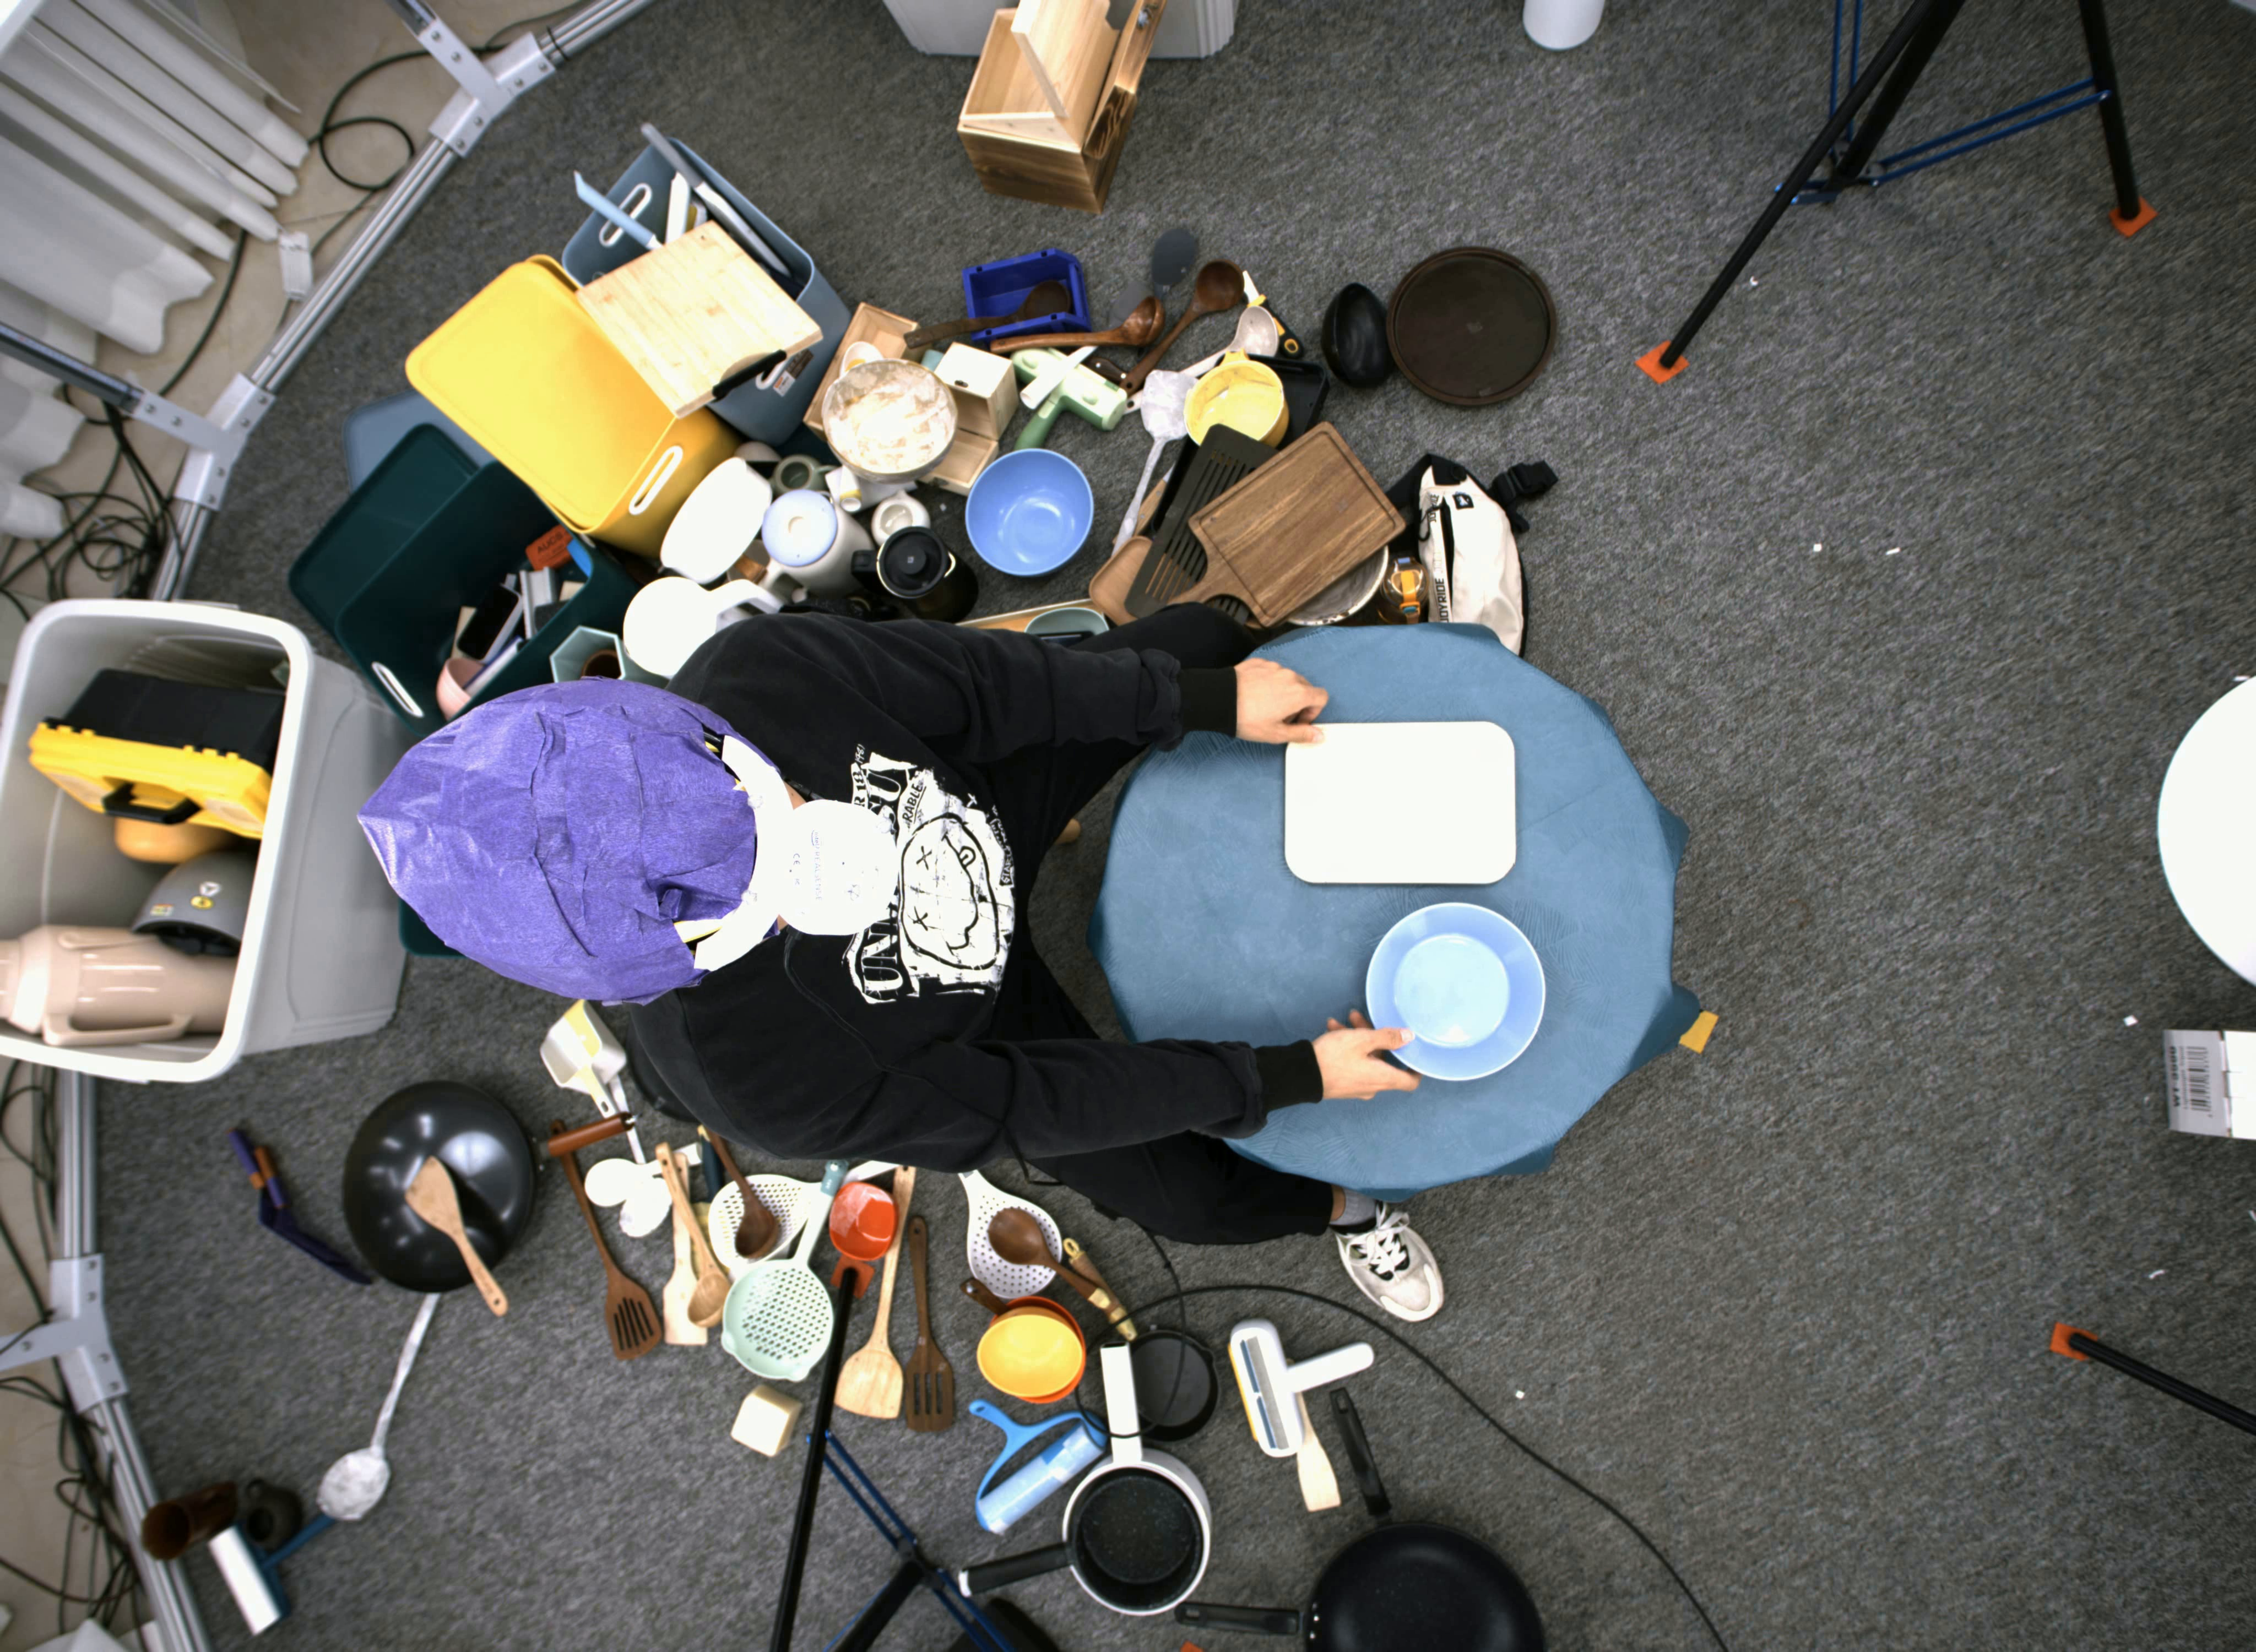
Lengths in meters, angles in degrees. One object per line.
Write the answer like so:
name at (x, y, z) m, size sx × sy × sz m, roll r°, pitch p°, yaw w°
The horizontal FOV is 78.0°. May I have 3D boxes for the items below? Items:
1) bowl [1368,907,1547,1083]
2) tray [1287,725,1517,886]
bowl at (0.334, 0.171, 1.410) m, size 0.177 × 0.070 × 0.175 m, roll -1°, pitch 84°, yaw 10°
tray at (0.289, -0.022, 1.459) m, size 0.240 × 0.017 × 0.170 m, roll 0°, pitch 85°, yaw 10°
